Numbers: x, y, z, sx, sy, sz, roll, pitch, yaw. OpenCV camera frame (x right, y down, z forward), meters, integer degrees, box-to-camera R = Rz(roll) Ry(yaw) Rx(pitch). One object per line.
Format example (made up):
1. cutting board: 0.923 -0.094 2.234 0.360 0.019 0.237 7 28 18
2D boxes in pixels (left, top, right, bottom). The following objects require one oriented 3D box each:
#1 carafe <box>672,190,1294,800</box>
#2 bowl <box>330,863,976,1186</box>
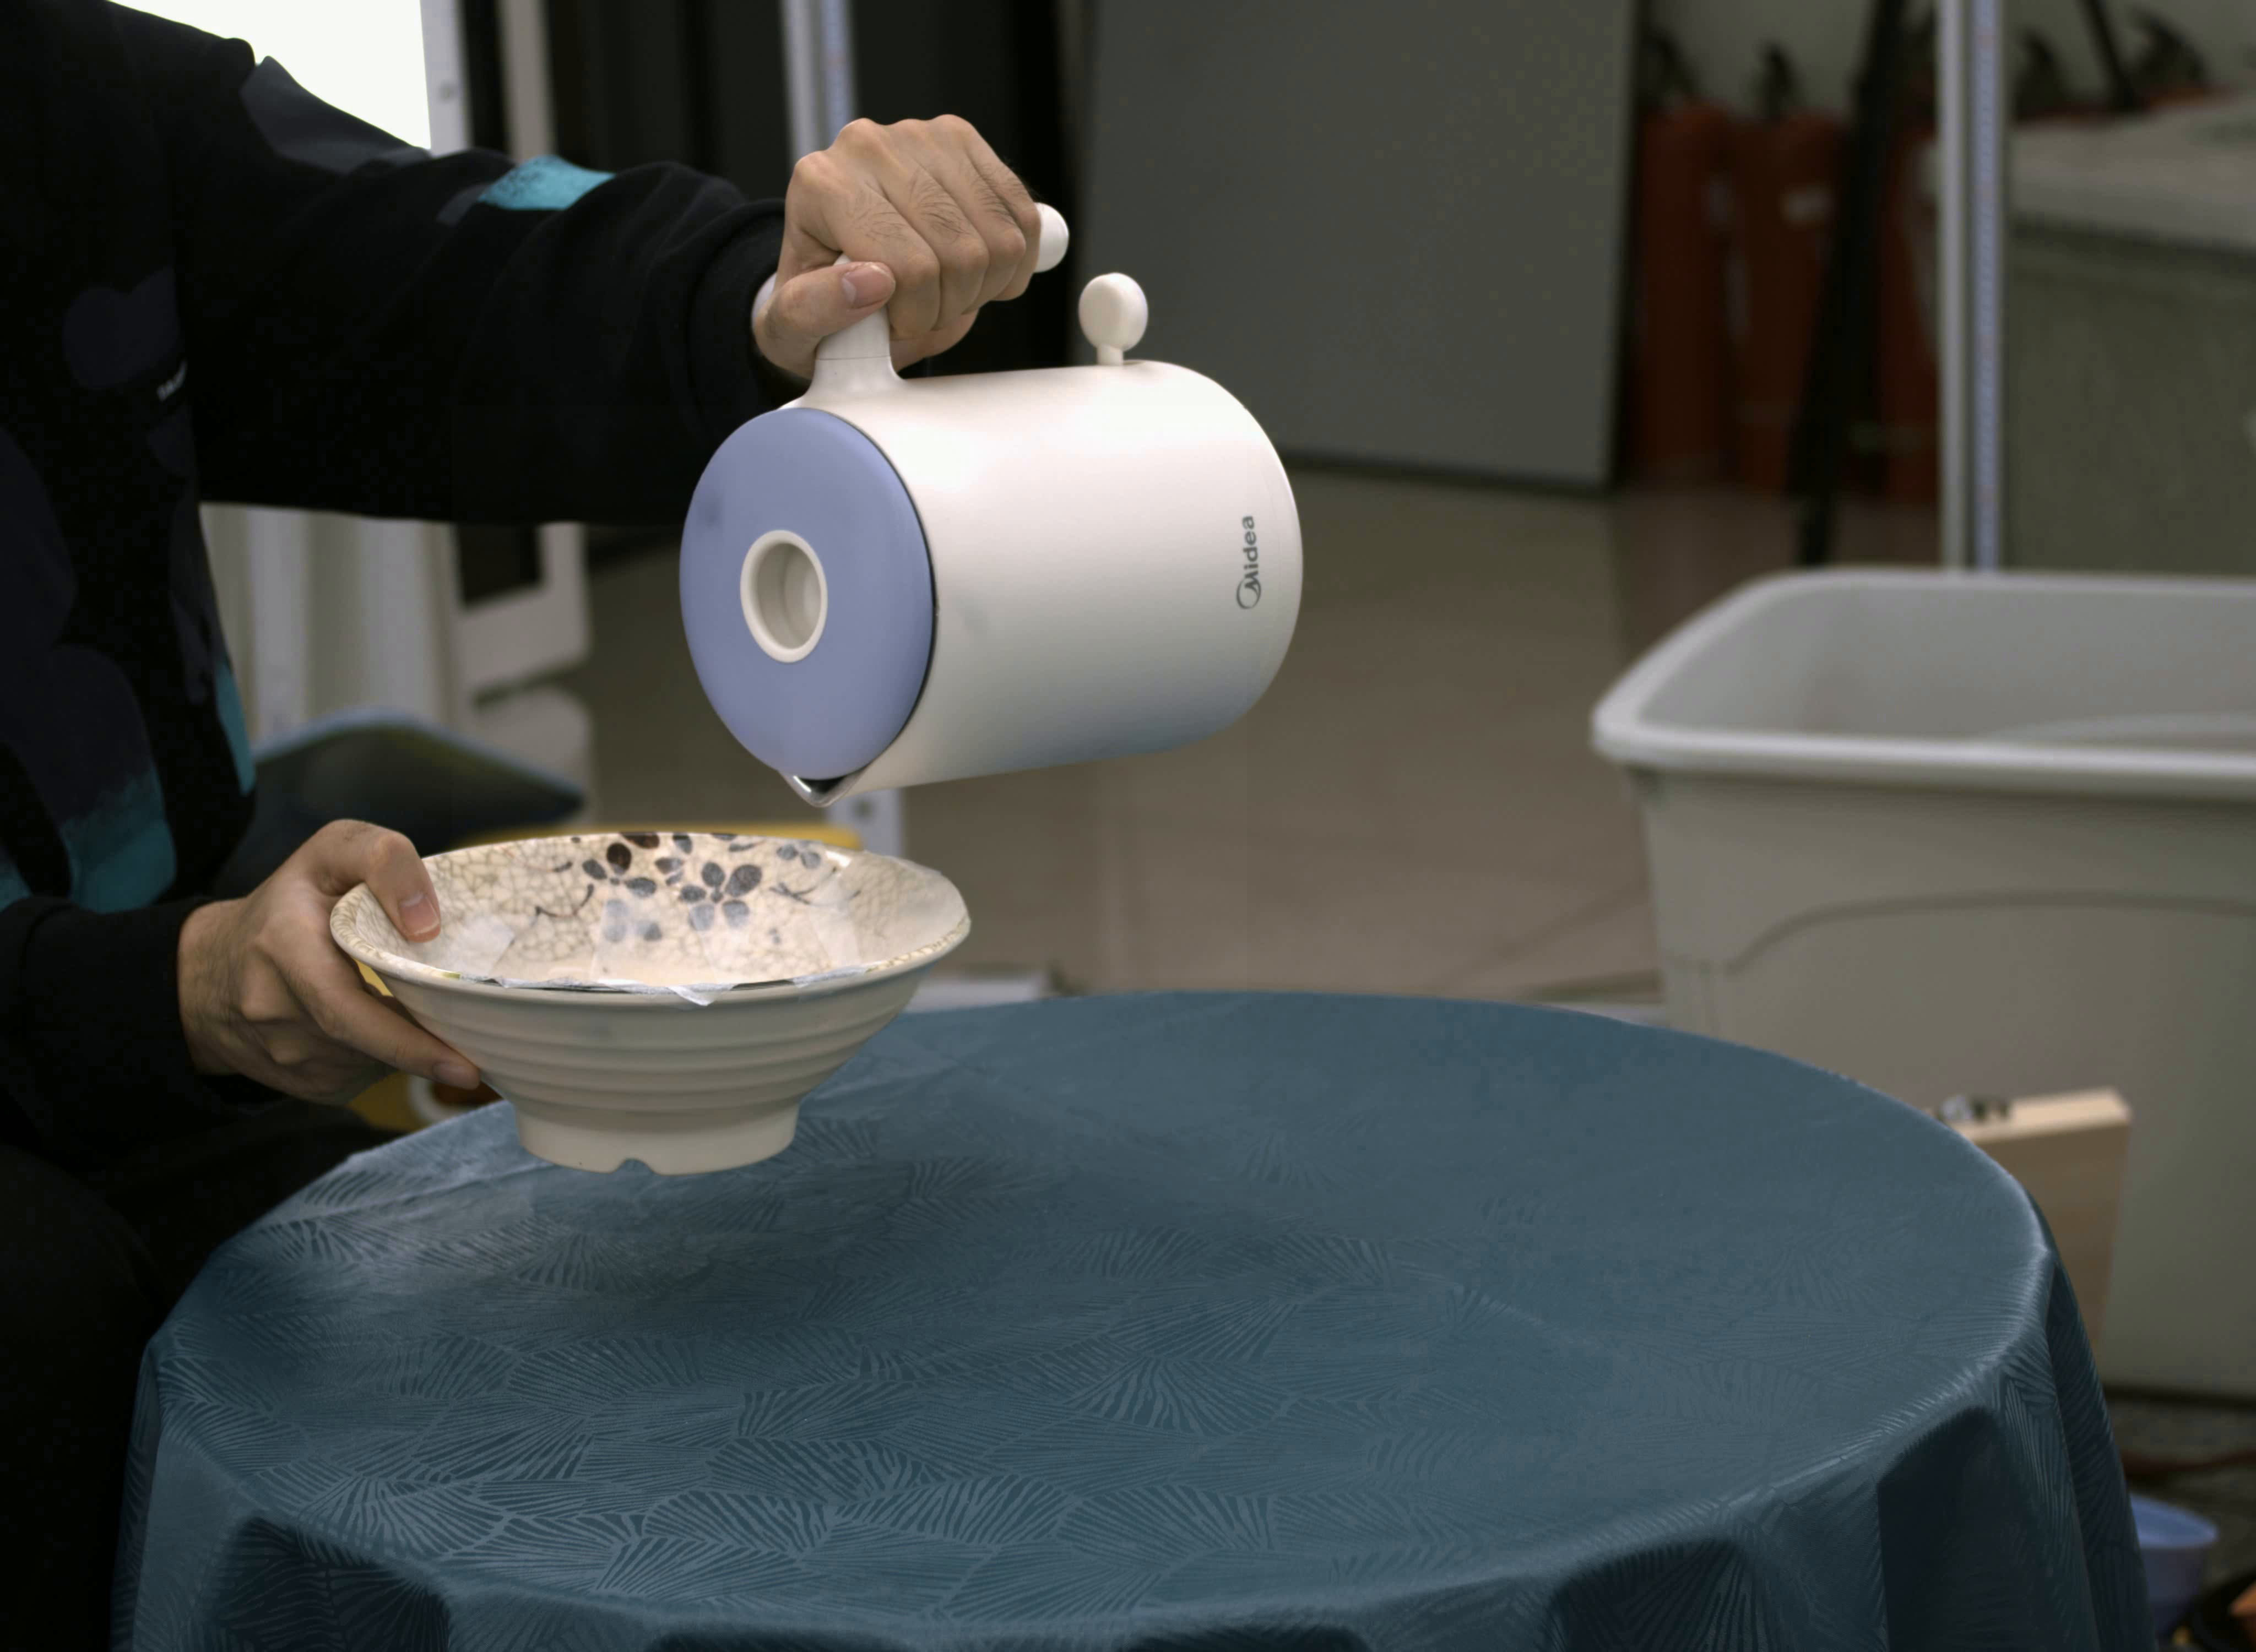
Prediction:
1. carafe: -0.048 -0.109 1.752 0.178 0.193 0.133 -5 3 -44
2. bowl: -0.146 0.065 1.694 0.201 0.079 0.204 -3 9 0
